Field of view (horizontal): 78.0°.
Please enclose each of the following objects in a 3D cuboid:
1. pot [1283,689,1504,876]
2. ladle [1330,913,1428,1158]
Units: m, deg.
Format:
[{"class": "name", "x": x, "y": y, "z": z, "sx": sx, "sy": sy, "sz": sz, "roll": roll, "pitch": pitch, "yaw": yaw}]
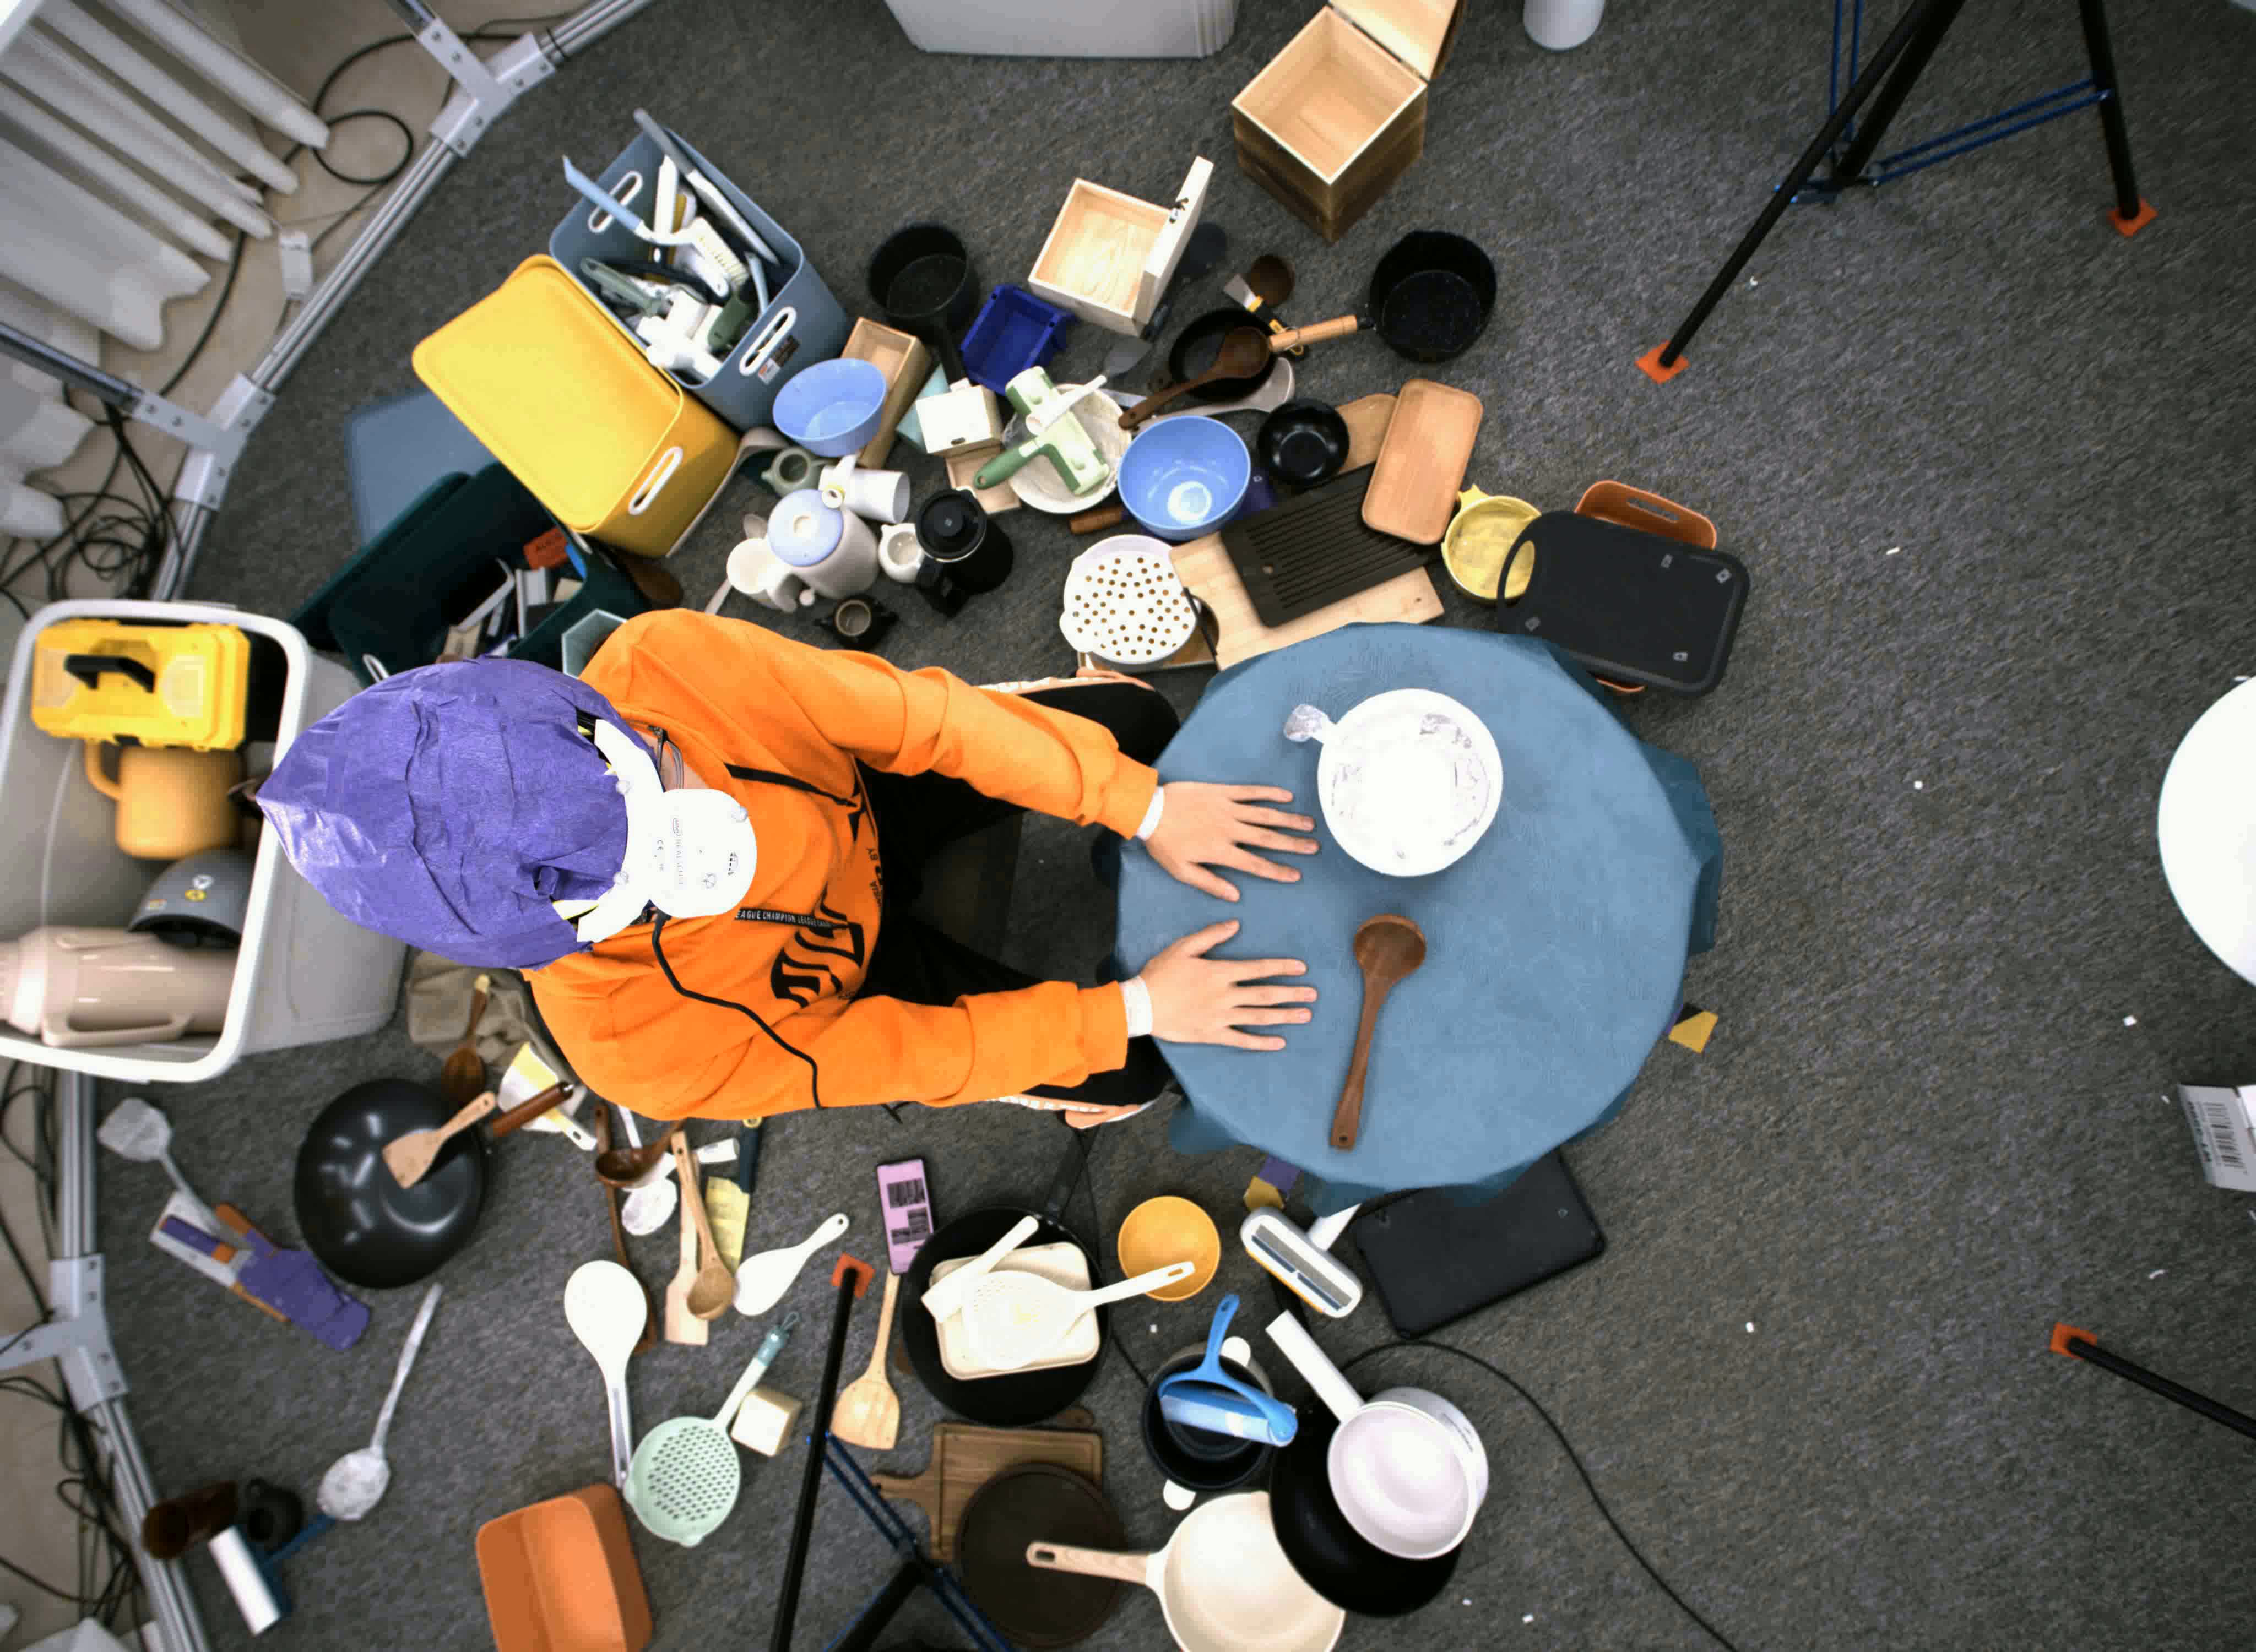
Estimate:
[{"class": "pot", "x": 0.260, "y": -0.055, "z": 1.399, "sx": 0.233, "sy": 0.137, "sz": 0.179, "roll": 32, "pitch": 91, "yaw": 11}, {"class": "ladle", "x": 0.247, "y": 0.216, "z": 1.424, "sx": 0.076, "sy": 0.065, "sz": 0.259, "roll": 14, "pitch": 89, "yaw": 13}]
